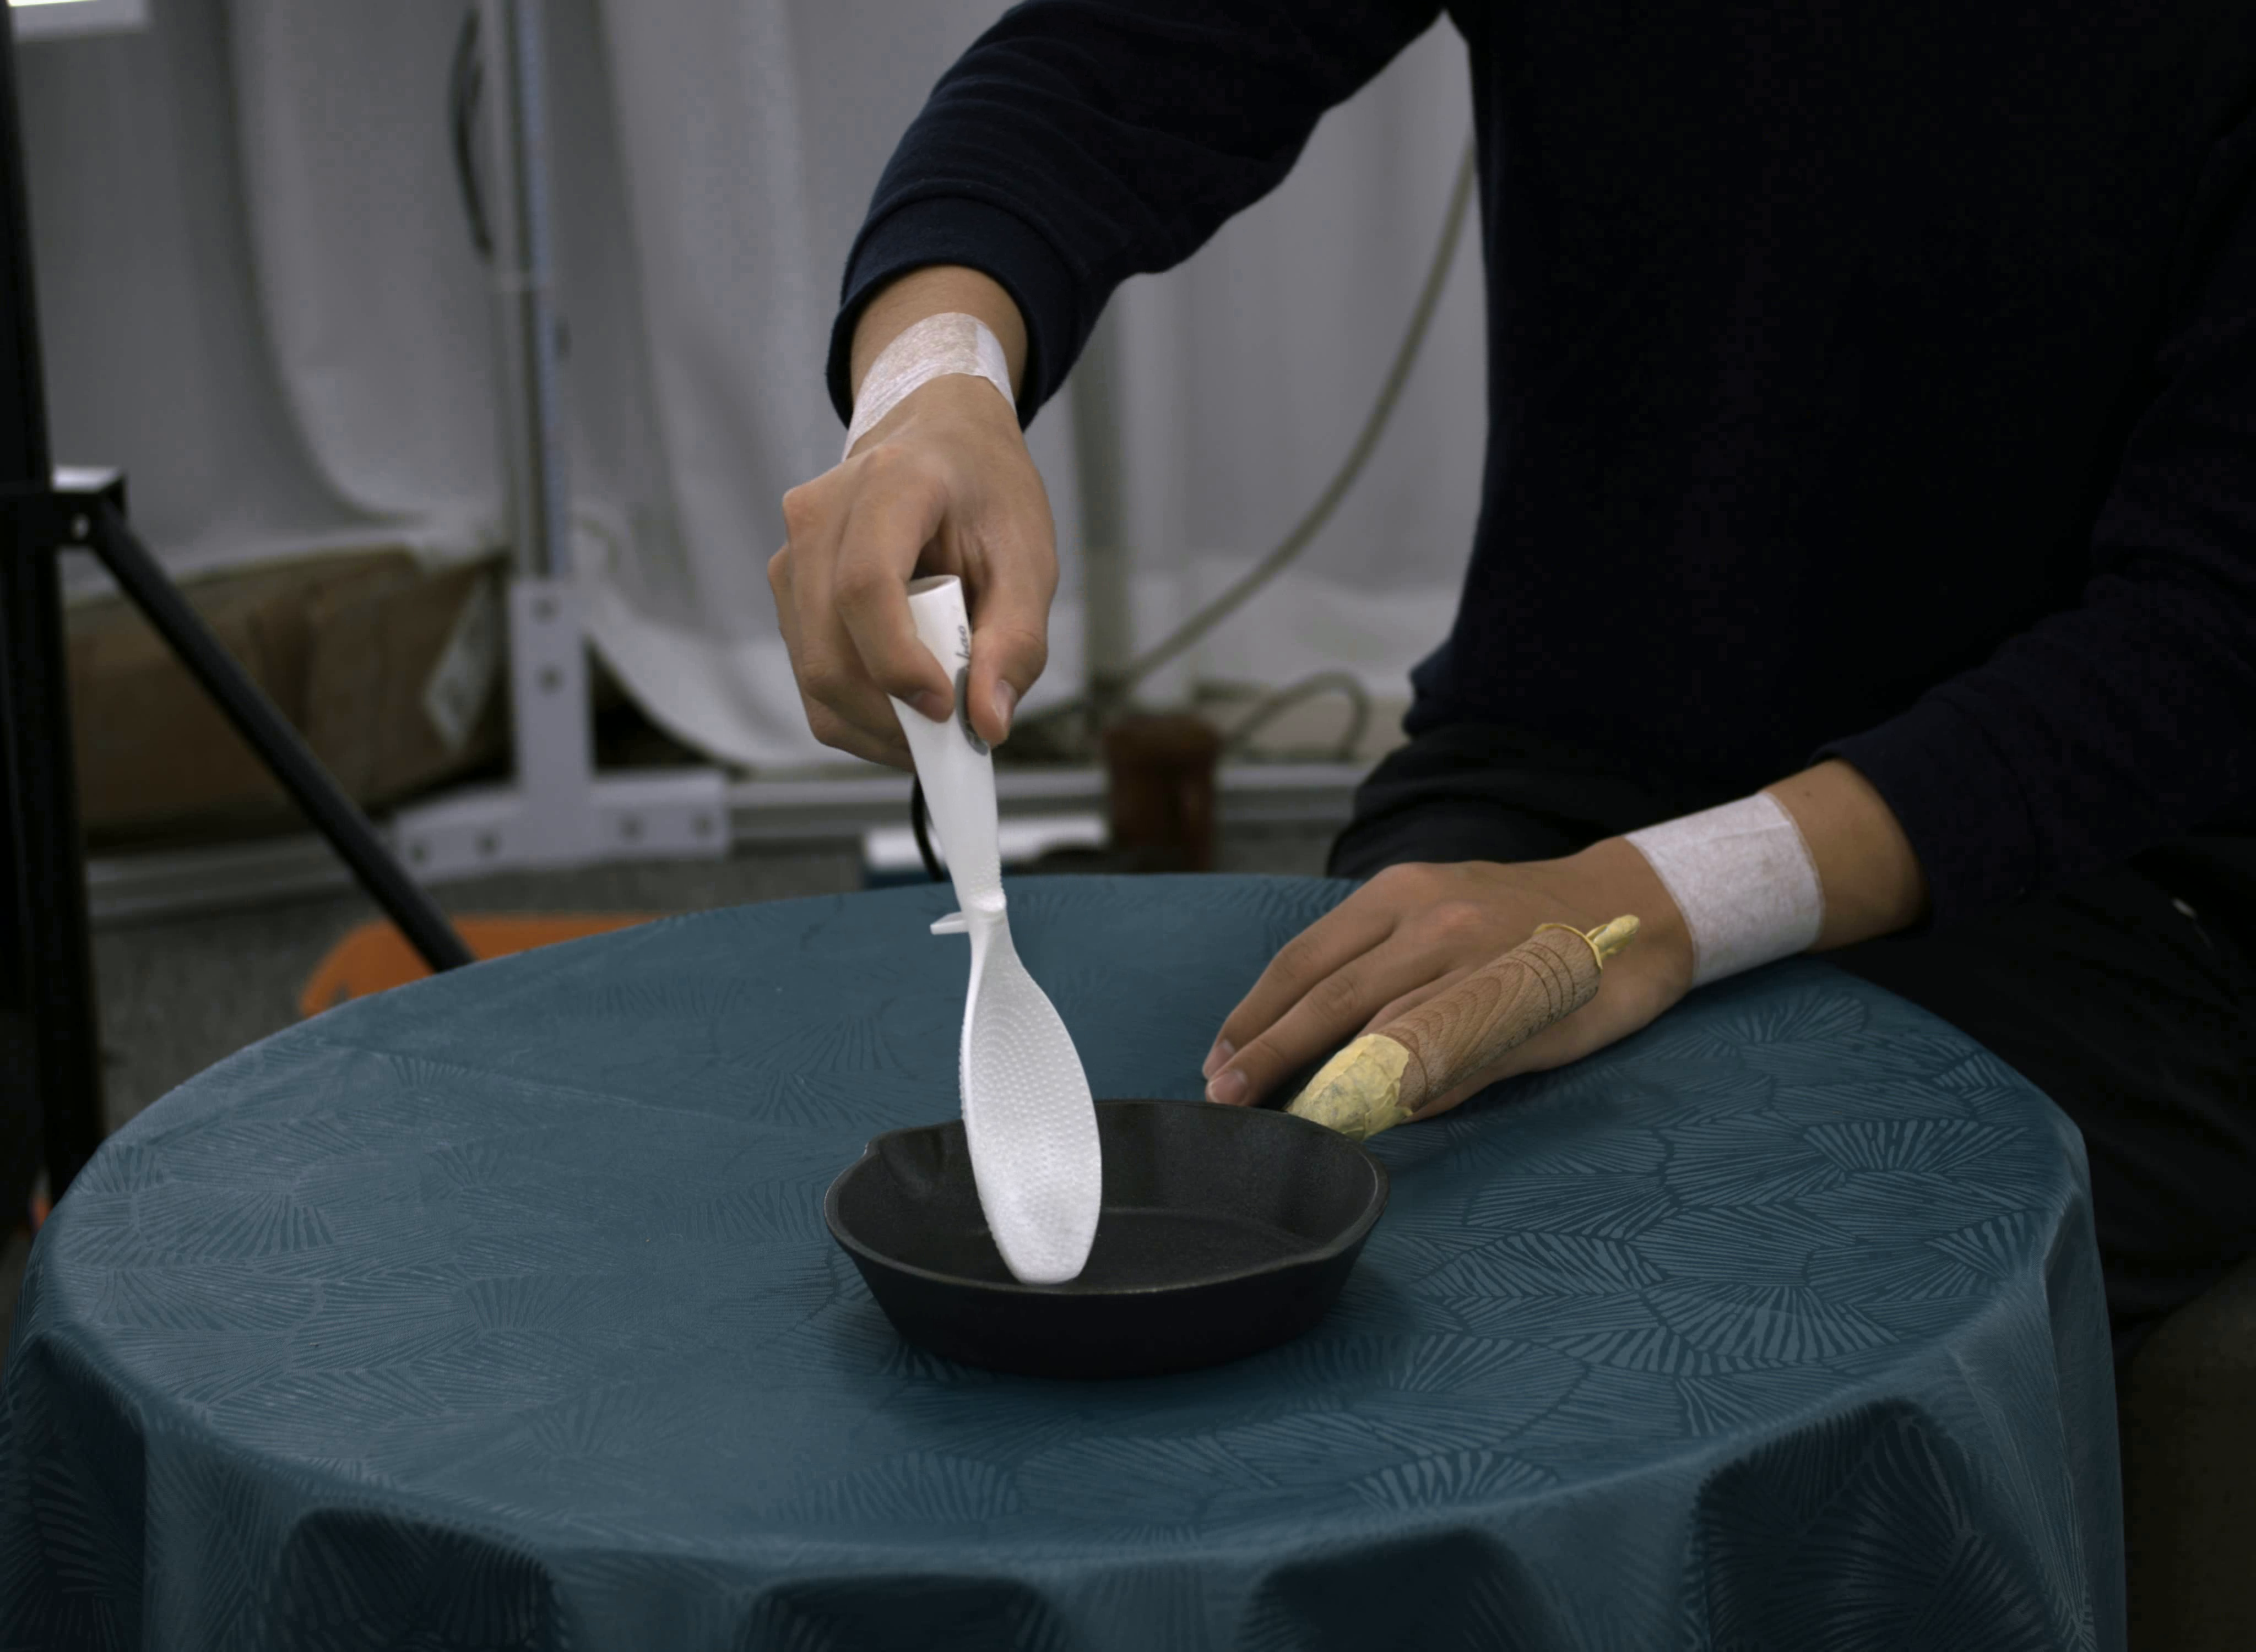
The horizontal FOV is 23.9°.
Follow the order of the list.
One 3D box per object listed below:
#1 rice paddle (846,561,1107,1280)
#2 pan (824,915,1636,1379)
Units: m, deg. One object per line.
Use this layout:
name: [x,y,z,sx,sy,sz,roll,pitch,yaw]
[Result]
rice paddle: [-0.037,0.030,1.454,0.030,0.205,0.068,-8,11,29]
pan: [0.050,0.088,1.526,0.173,0.049,0.317,12,23,41]
